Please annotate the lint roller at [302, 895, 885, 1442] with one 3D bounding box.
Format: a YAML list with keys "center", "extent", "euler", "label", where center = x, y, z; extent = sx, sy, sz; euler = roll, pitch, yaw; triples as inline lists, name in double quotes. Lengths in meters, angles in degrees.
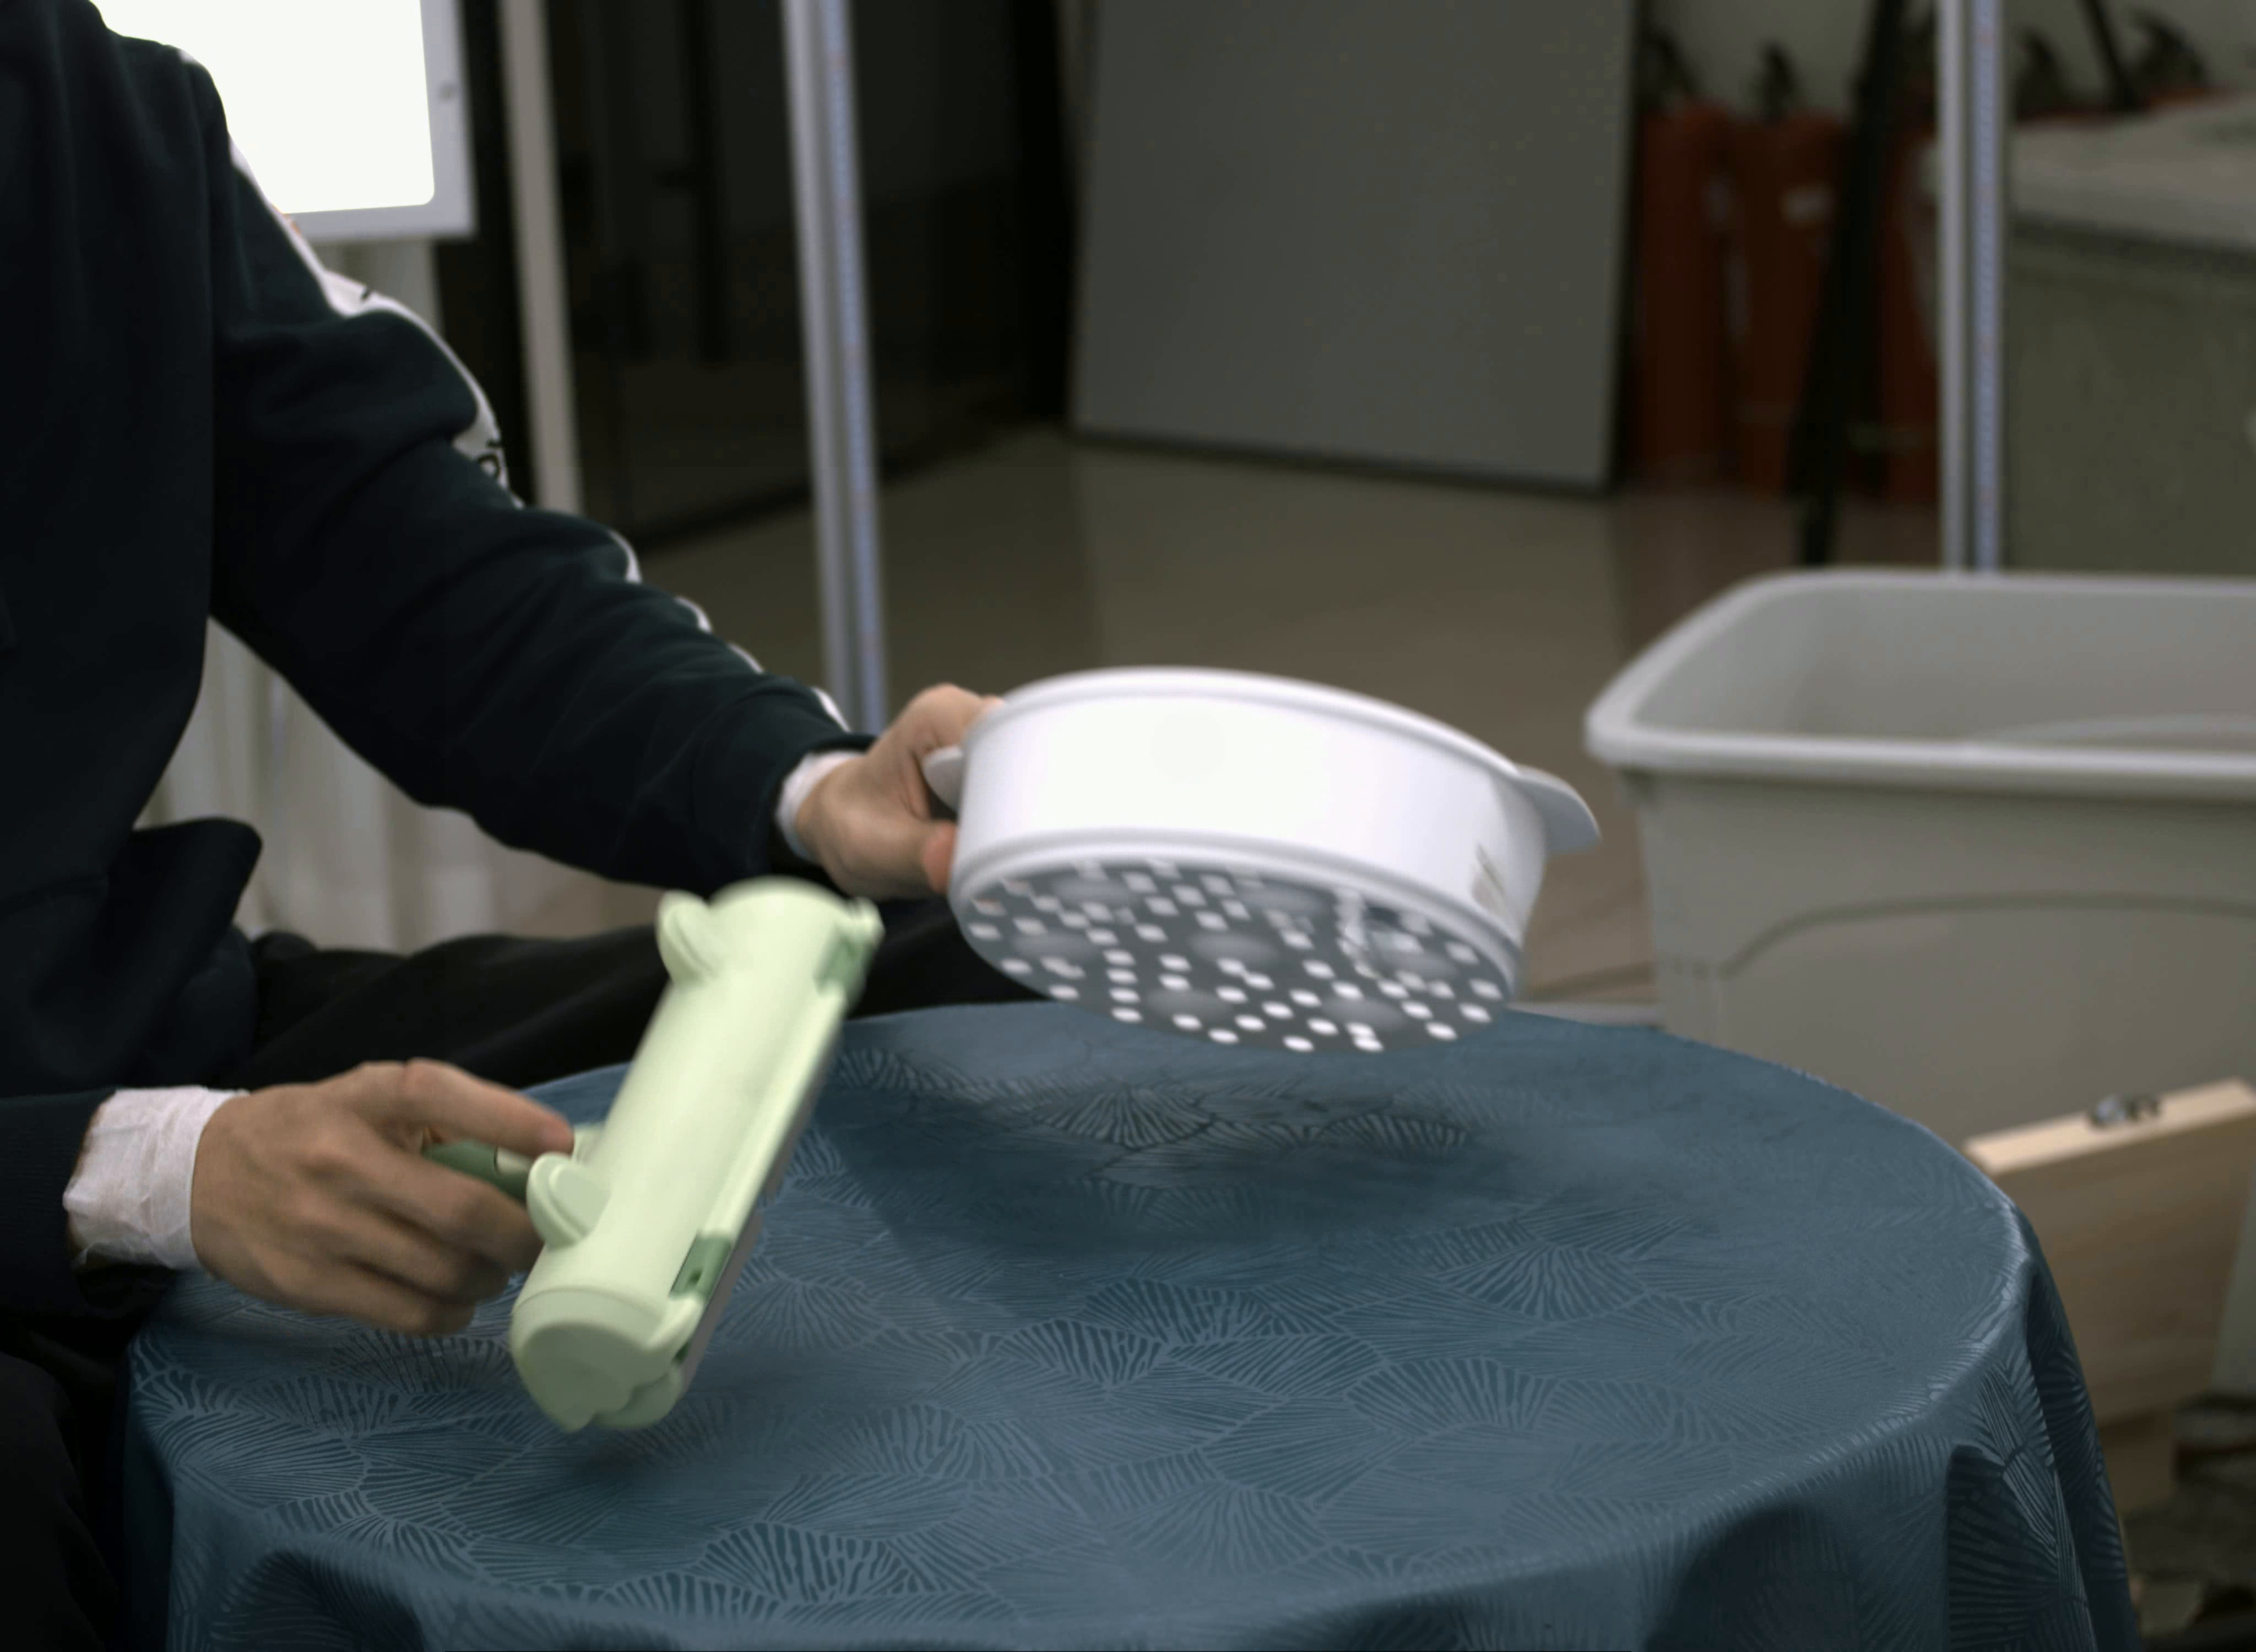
- center: [-0.180, 0.097, 1.620]
  extent: [0.183, 0.082, 0.198]
  euler: [-5, 36, 25]
  label: "lint roller"

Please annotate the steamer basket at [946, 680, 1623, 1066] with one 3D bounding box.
- center: [0.046, 0.021, 1.774]
  extent: [0.230, 0.070, 0.200]
  euler: [4, -20, 19]
  label: "steamer basket"
